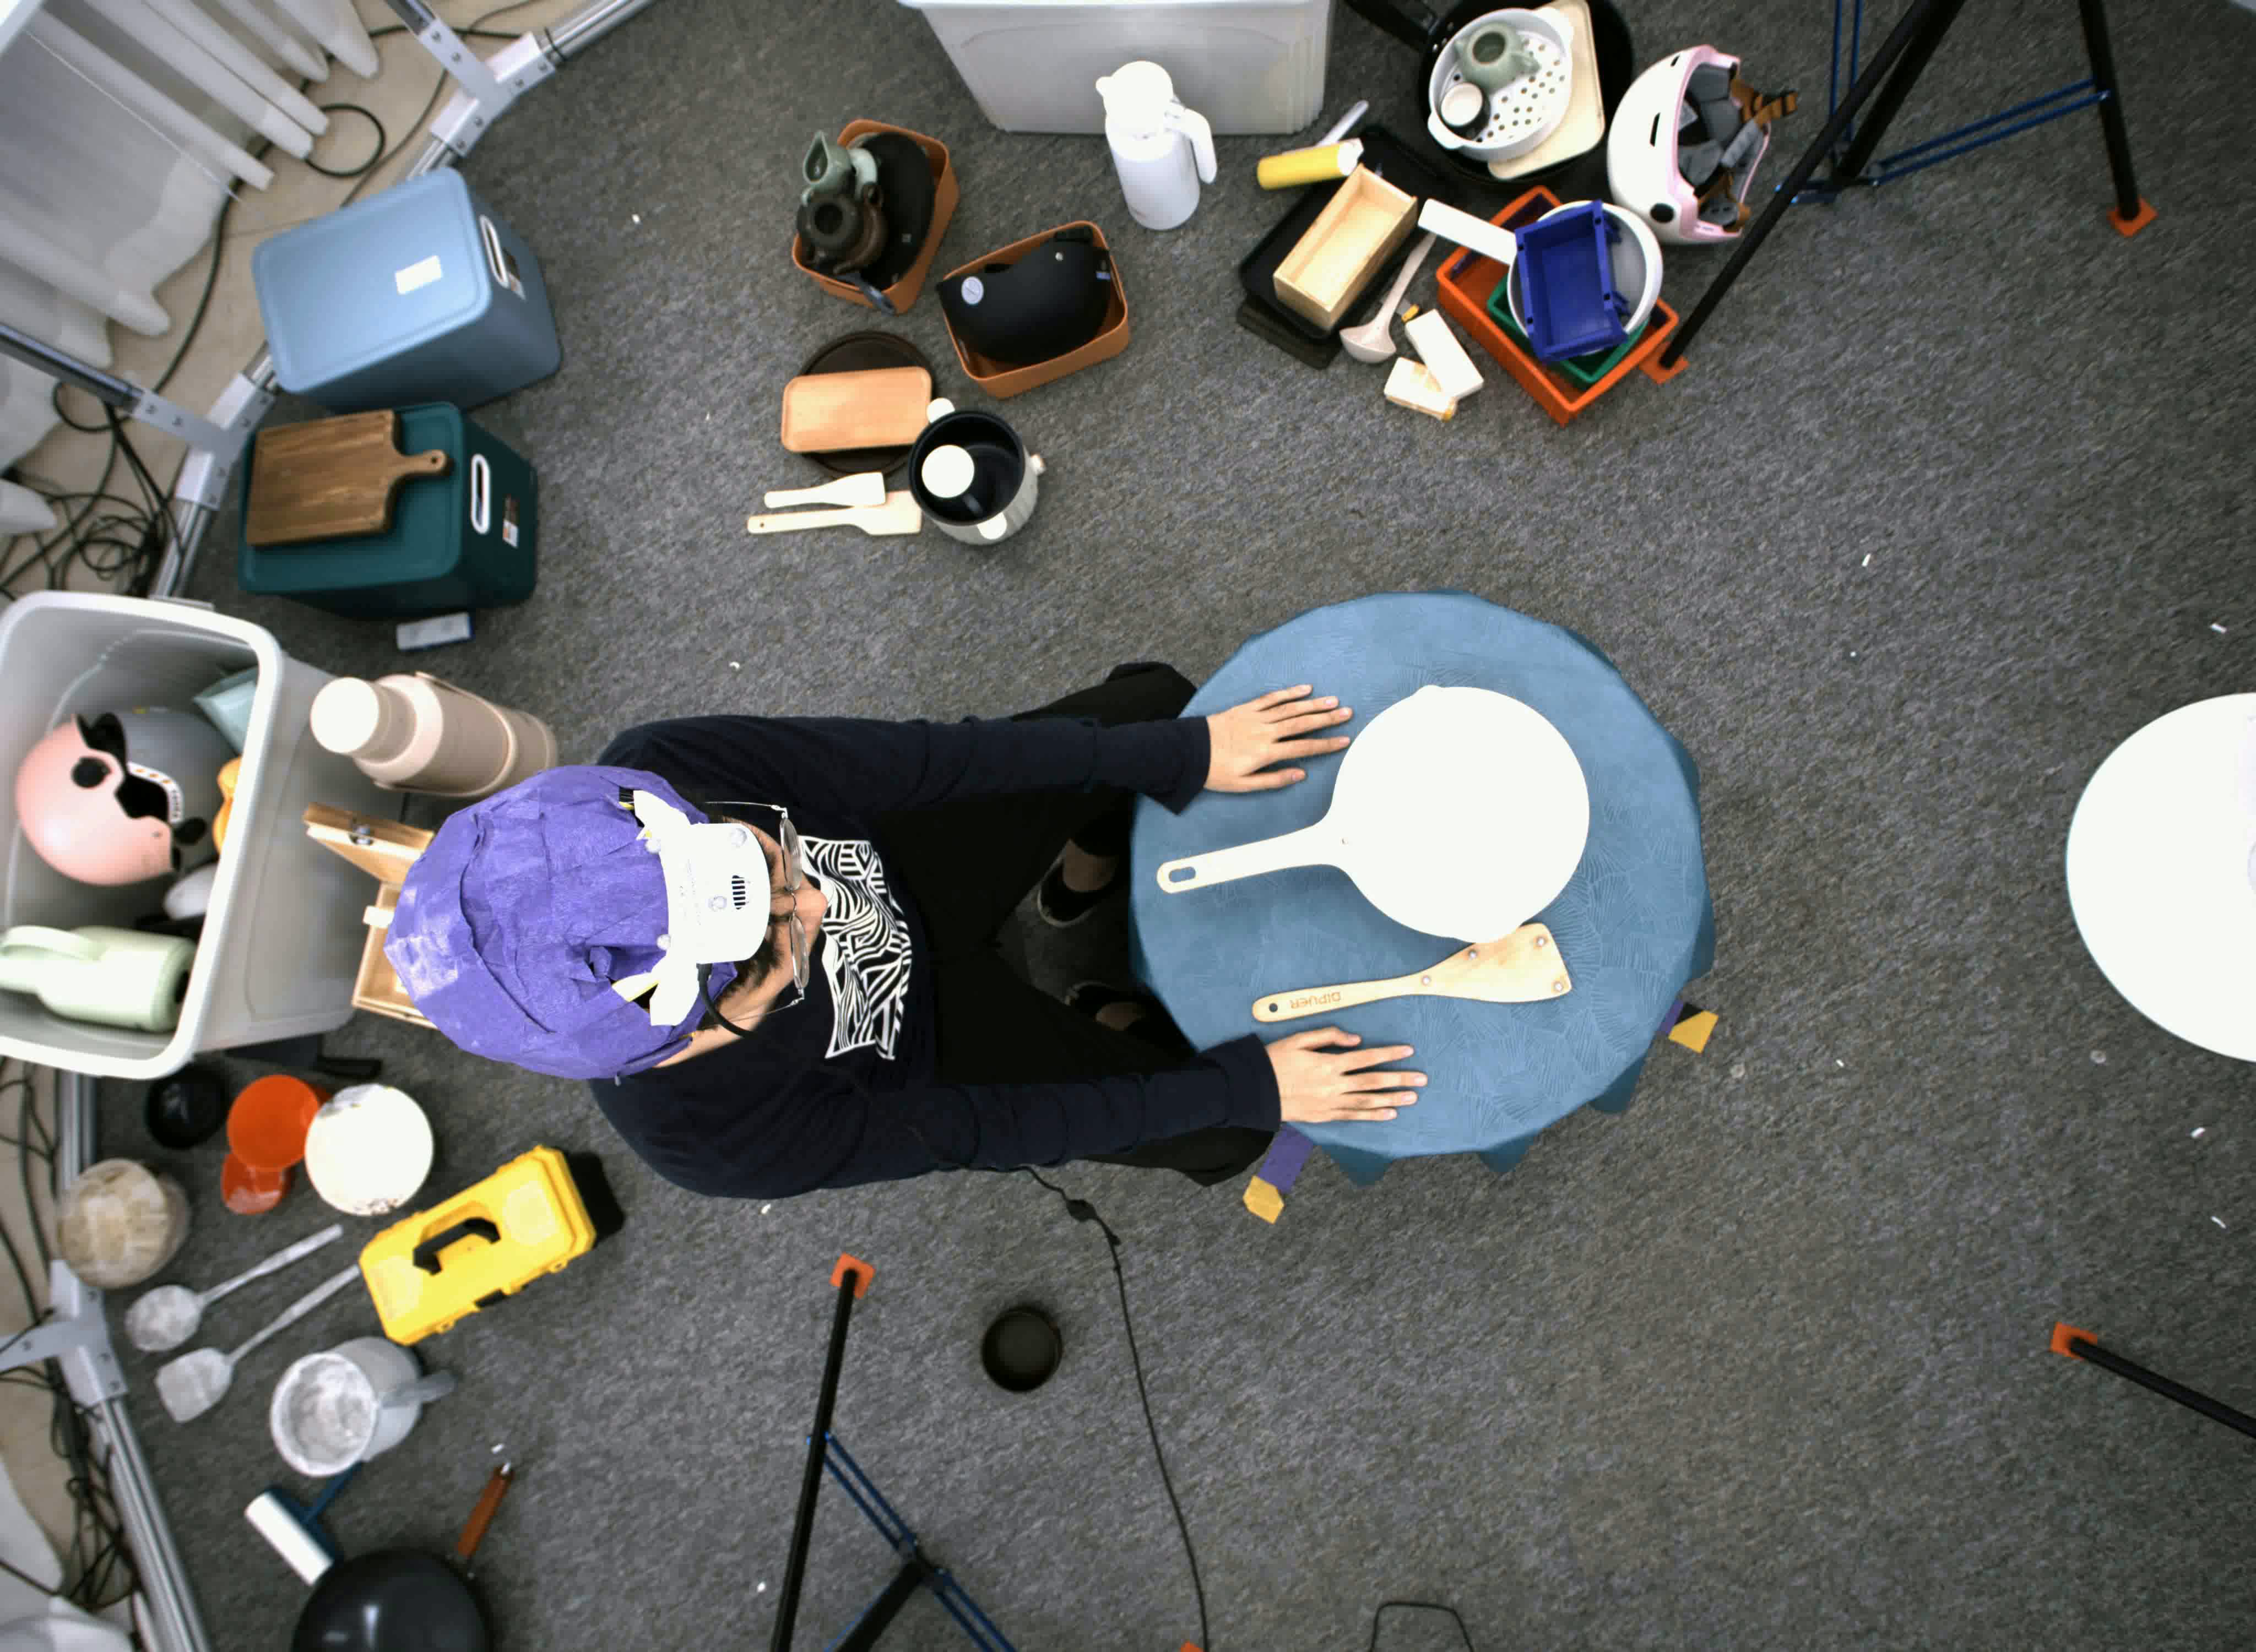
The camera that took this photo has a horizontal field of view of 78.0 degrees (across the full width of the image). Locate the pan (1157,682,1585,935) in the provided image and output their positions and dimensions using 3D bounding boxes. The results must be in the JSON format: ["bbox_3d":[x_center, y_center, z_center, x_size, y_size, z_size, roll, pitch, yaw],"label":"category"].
[{"bbox_3d":[0.245,0.005,1.419,0.437,0.102,0.262,-15,84,10],"label":"pan"}]

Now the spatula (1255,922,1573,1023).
[{"bbox_3d":[0.293,0.163,1.443,0.329,0.016,0.079,-12,85,10],"label":"spatula"}]
